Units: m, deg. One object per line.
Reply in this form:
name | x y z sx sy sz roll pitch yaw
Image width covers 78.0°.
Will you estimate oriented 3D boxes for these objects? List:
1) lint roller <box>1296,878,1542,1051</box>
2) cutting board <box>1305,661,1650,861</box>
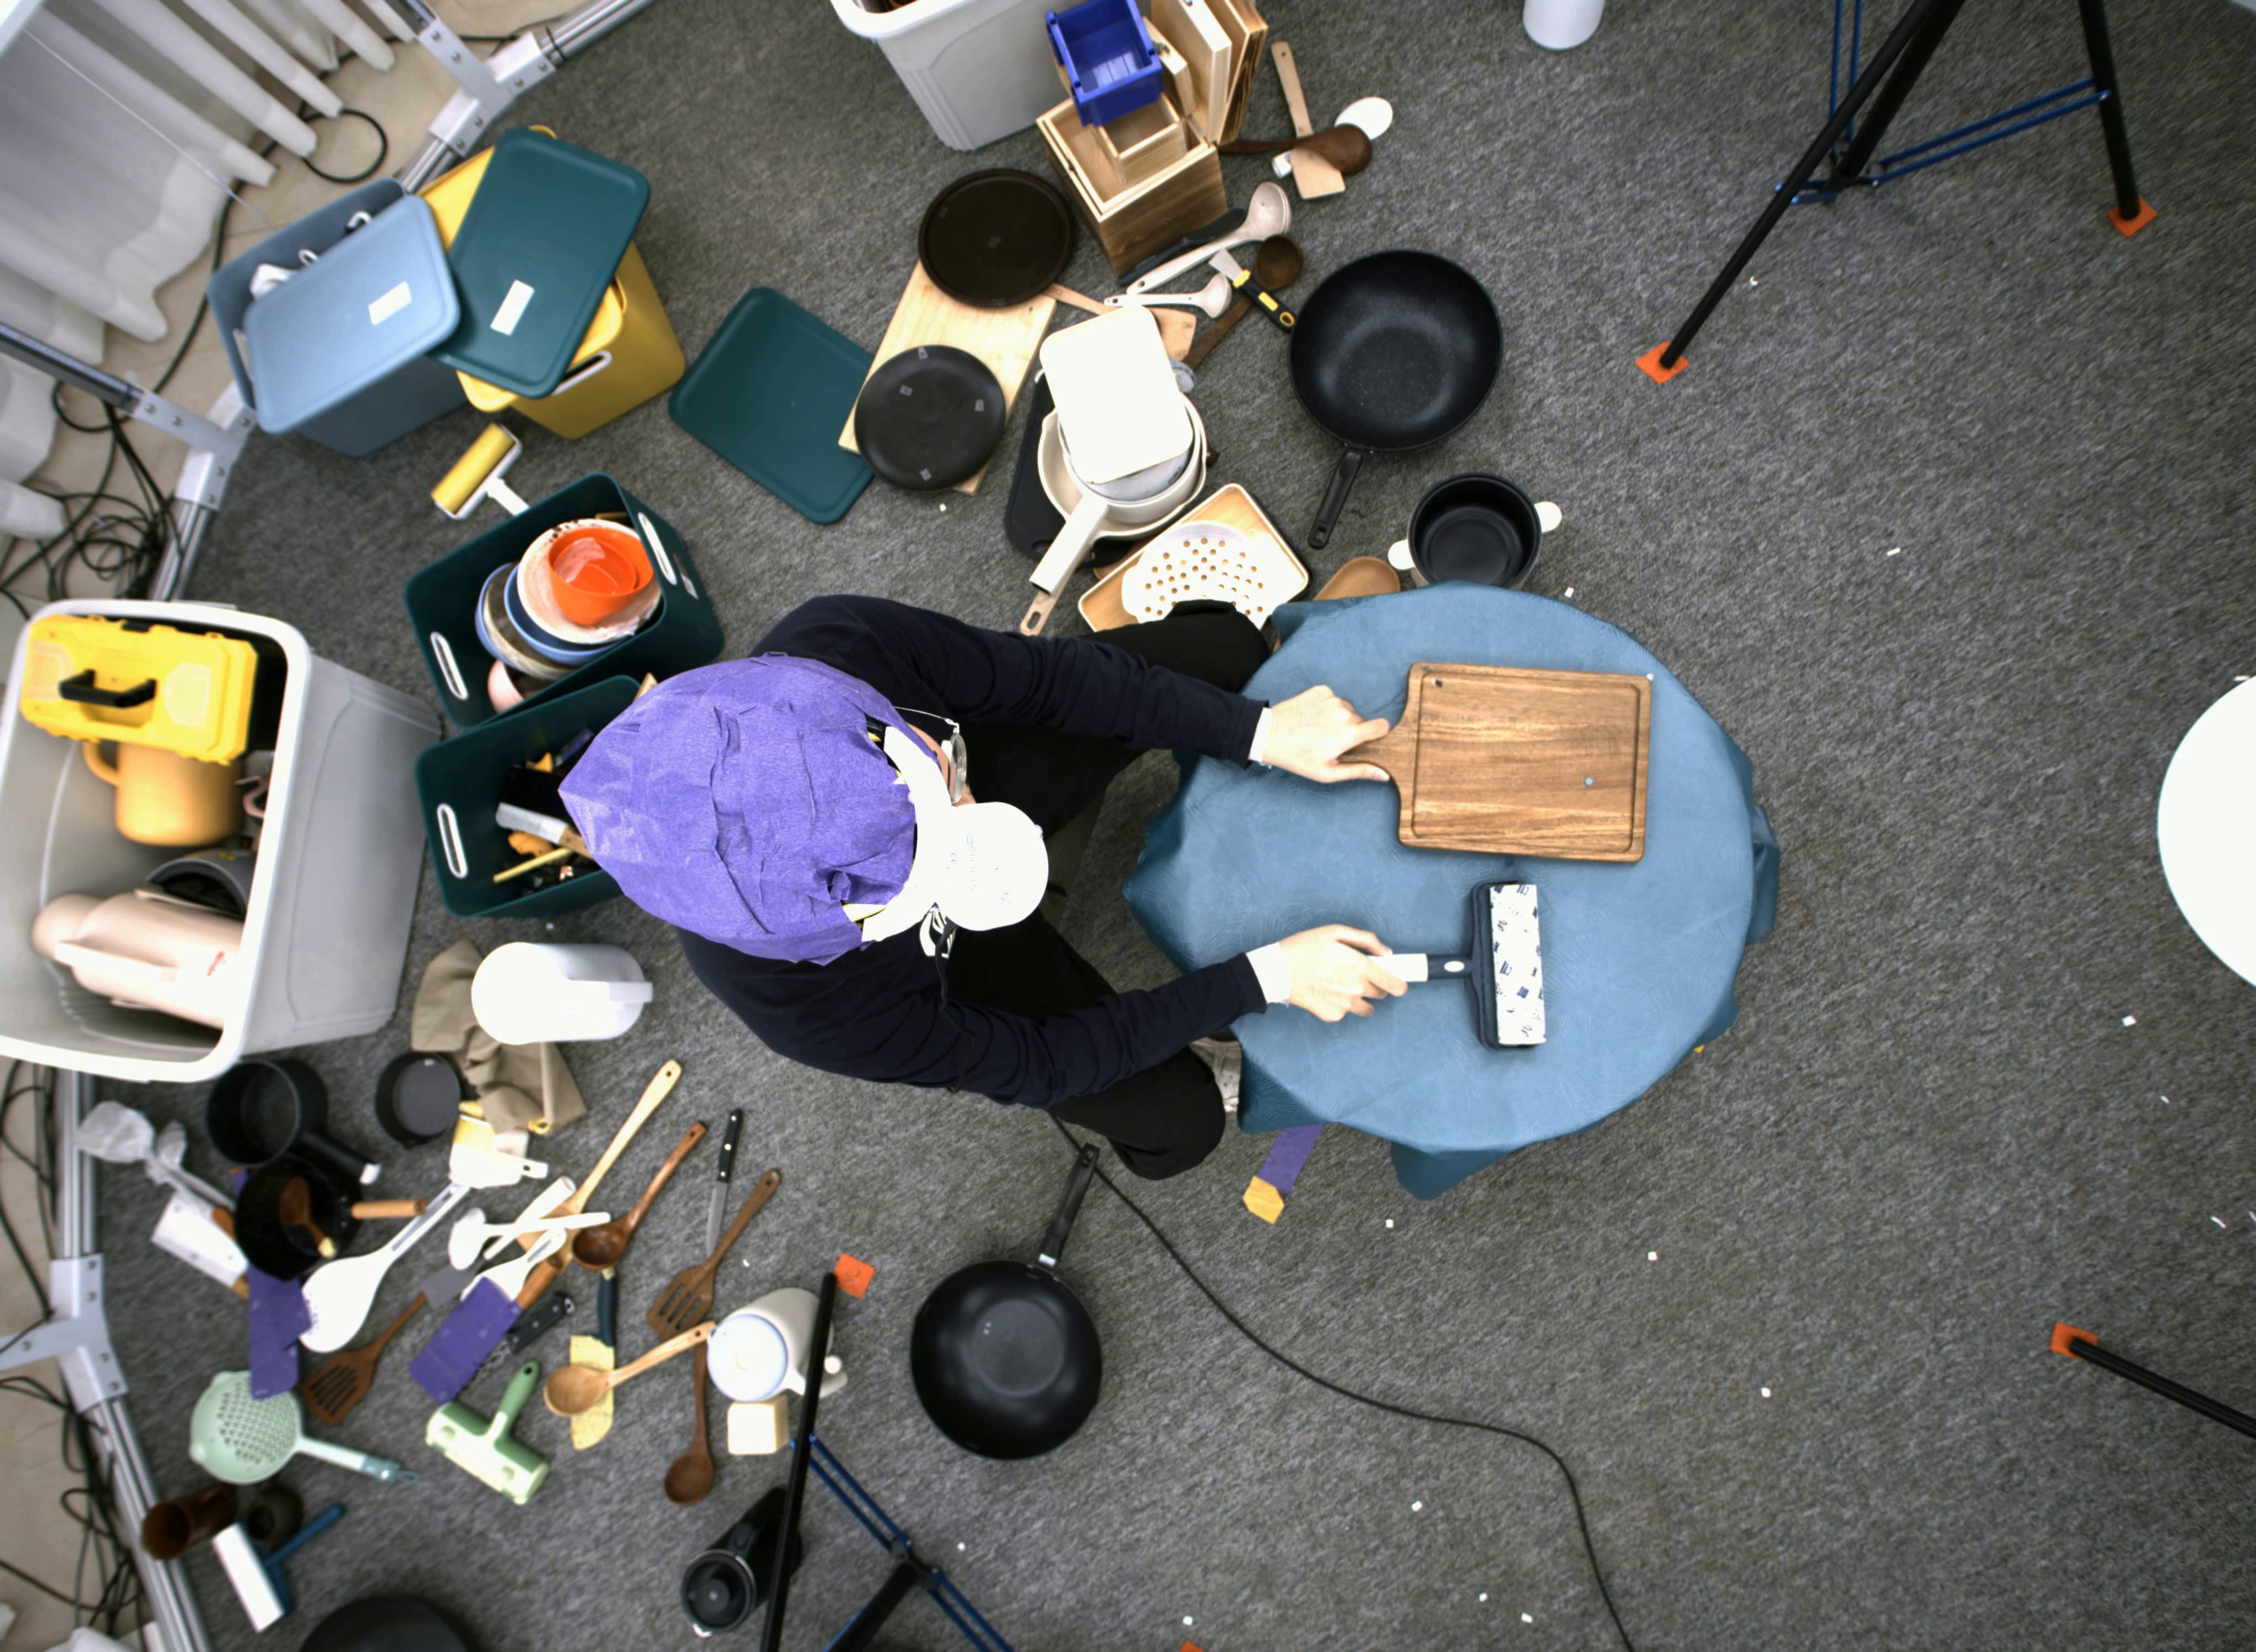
lint roller | 0.296 0.146 1.420 0.248 0.050 0.175 -4 87 8
cutting board | 0.362 -0.074 1.429 0.353 0.023 0.200 4 87 7
